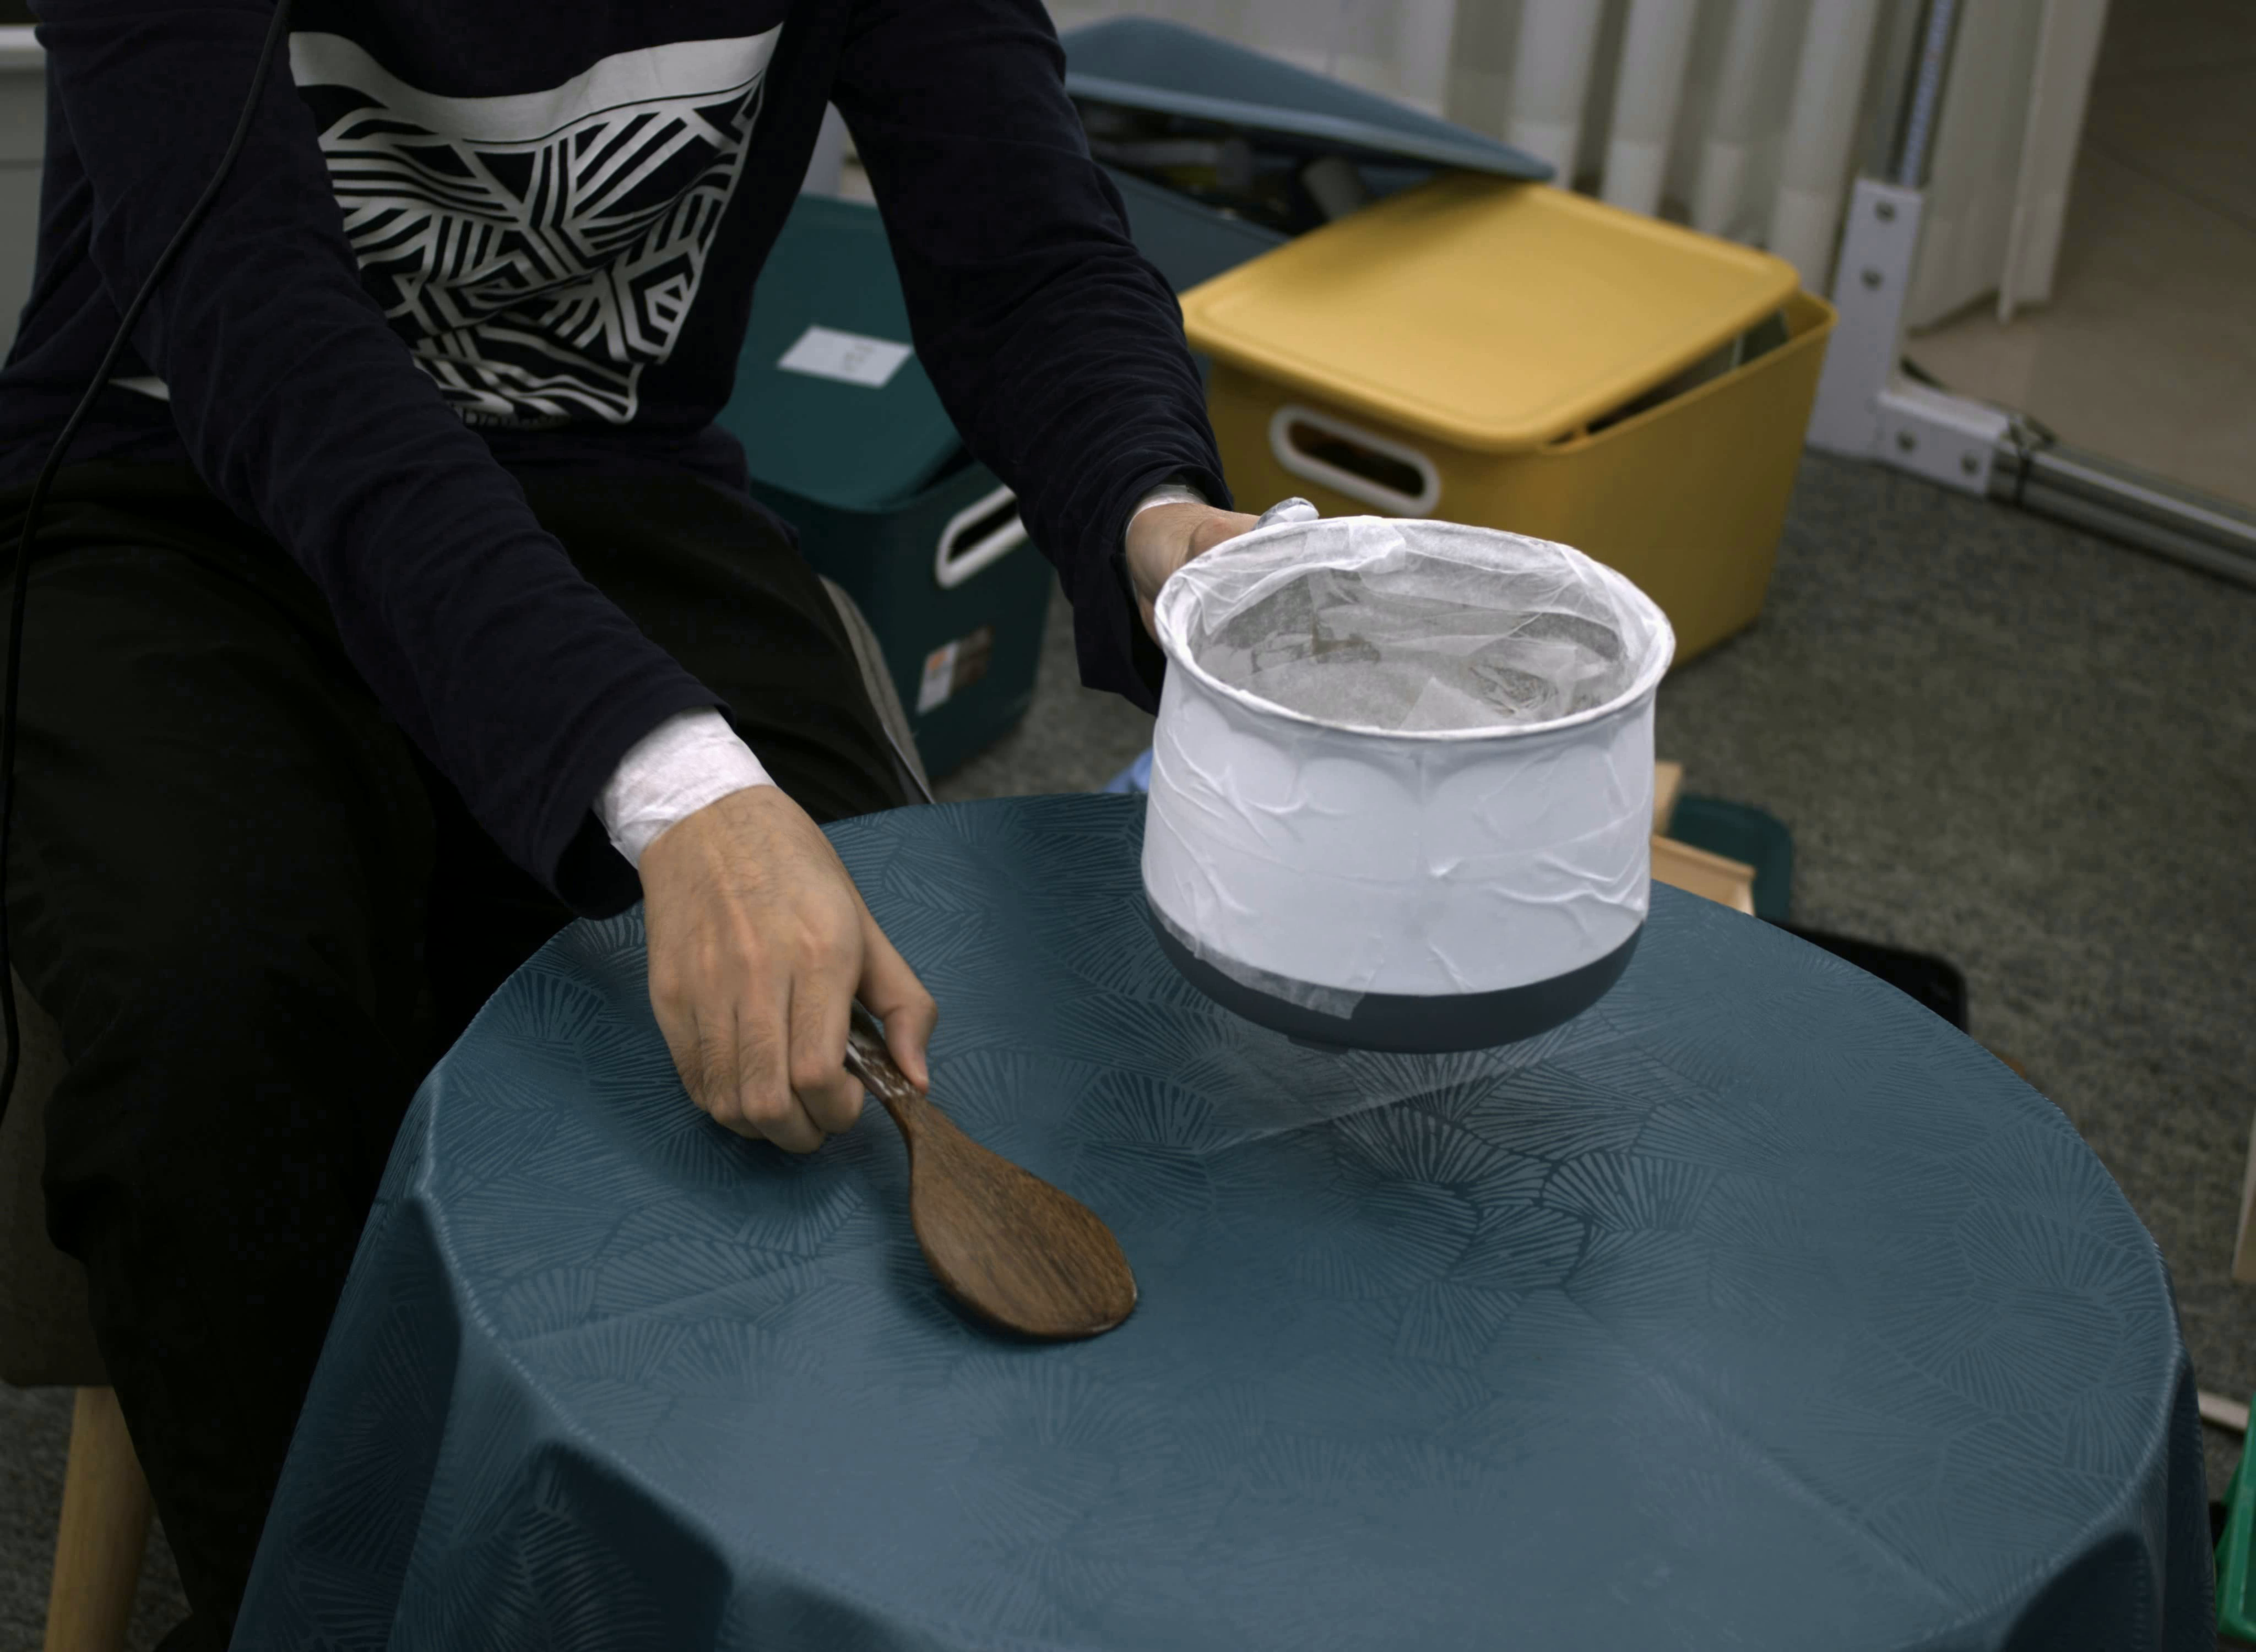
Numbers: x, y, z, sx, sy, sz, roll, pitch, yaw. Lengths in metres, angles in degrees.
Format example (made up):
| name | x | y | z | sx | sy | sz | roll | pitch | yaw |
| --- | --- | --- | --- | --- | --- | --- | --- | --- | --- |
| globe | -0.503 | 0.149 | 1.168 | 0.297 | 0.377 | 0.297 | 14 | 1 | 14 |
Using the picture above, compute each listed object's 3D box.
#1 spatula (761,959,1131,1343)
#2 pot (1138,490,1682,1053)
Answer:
| name | x | y | z | sx | sy | sz | roll | pitch | yaw |
| --- | --- | --- | --- | --- | --- | --- | --- | --- | --- |
| spatula | -0.068 | 0.106 | 1.789 | 0.071 | 0.009 | 0.218 | -2 | 34 | -34 |
| pot | 0.083 | -0.026 | 1.853 | 0.177 | 0.136 | 0.236 | -7 | 29 | -23 |
